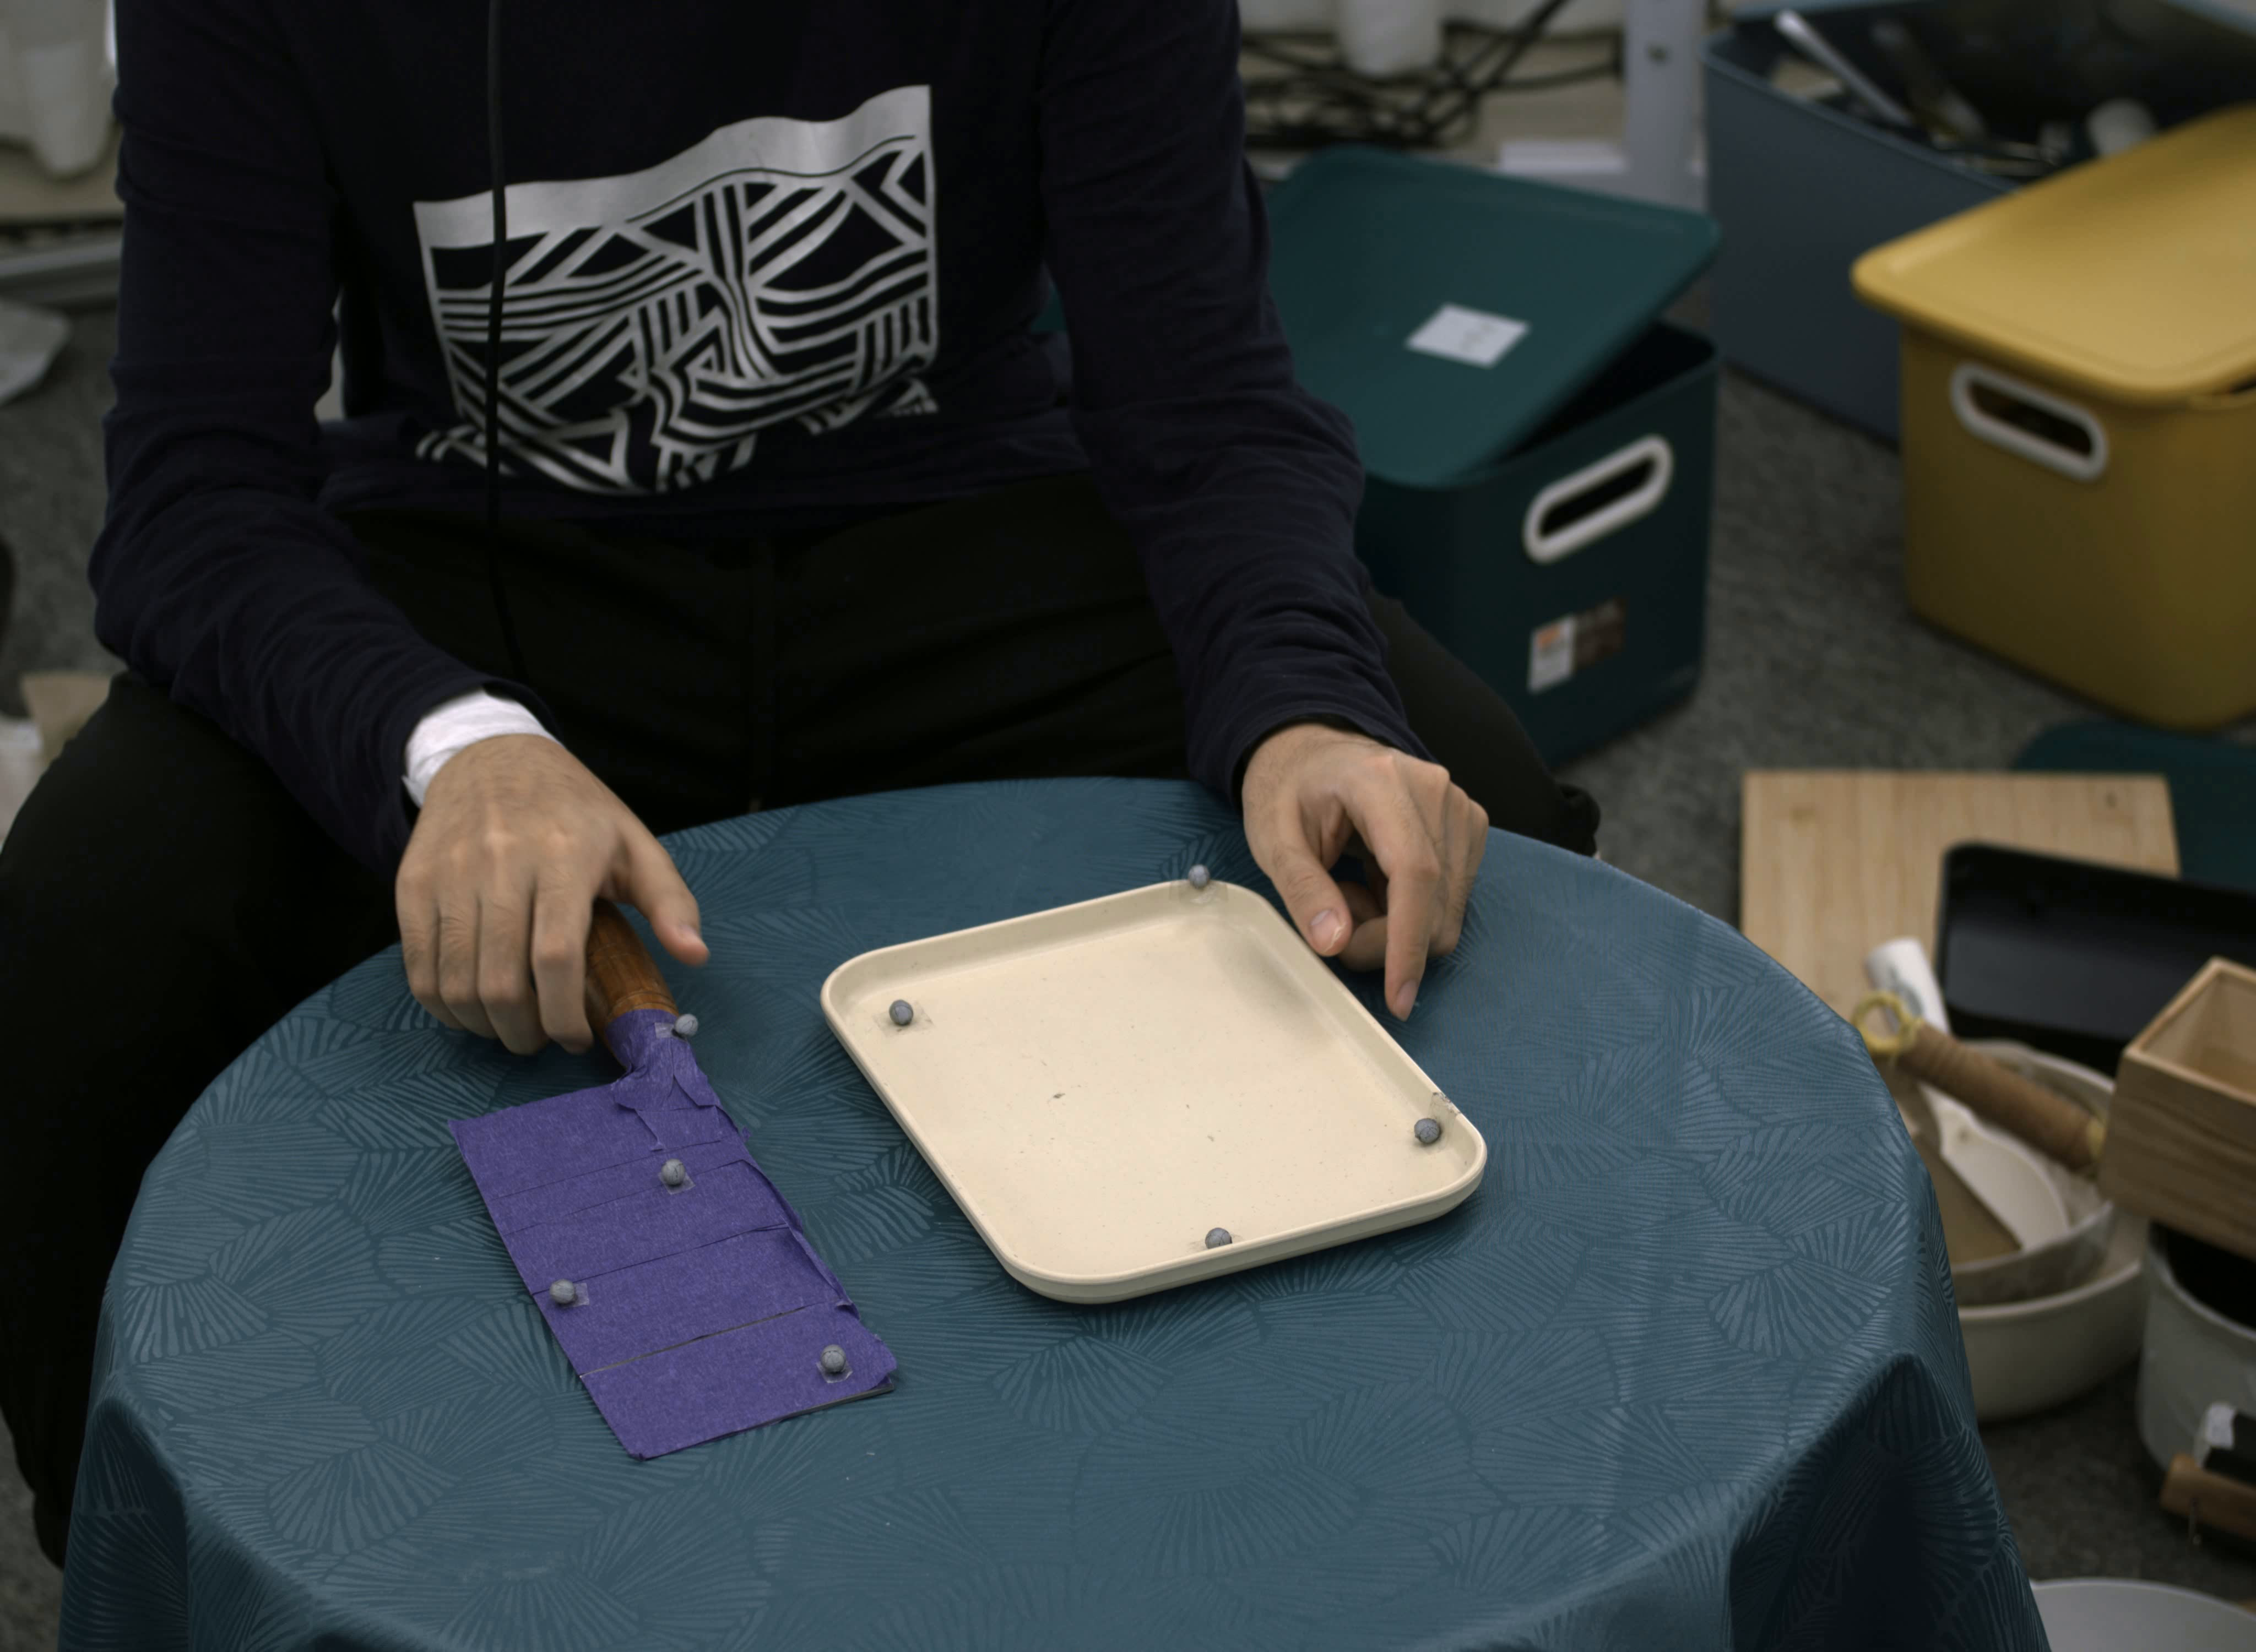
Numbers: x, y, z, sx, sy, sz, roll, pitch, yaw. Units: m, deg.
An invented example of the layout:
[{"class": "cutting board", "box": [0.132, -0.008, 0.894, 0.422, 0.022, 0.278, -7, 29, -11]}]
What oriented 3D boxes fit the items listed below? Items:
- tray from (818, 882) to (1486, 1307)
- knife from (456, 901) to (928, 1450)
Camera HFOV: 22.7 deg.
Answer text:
[{"class": "tray", "box": [0.005, 0.089, 1.904, 0.172, 0.017, 0.241, -13, 29, -18]}, {"class": "knife", "box": [-0.169, 0.112, 1.868, 0.104, 0.032, 0.317, -13, 29, -19]}]
